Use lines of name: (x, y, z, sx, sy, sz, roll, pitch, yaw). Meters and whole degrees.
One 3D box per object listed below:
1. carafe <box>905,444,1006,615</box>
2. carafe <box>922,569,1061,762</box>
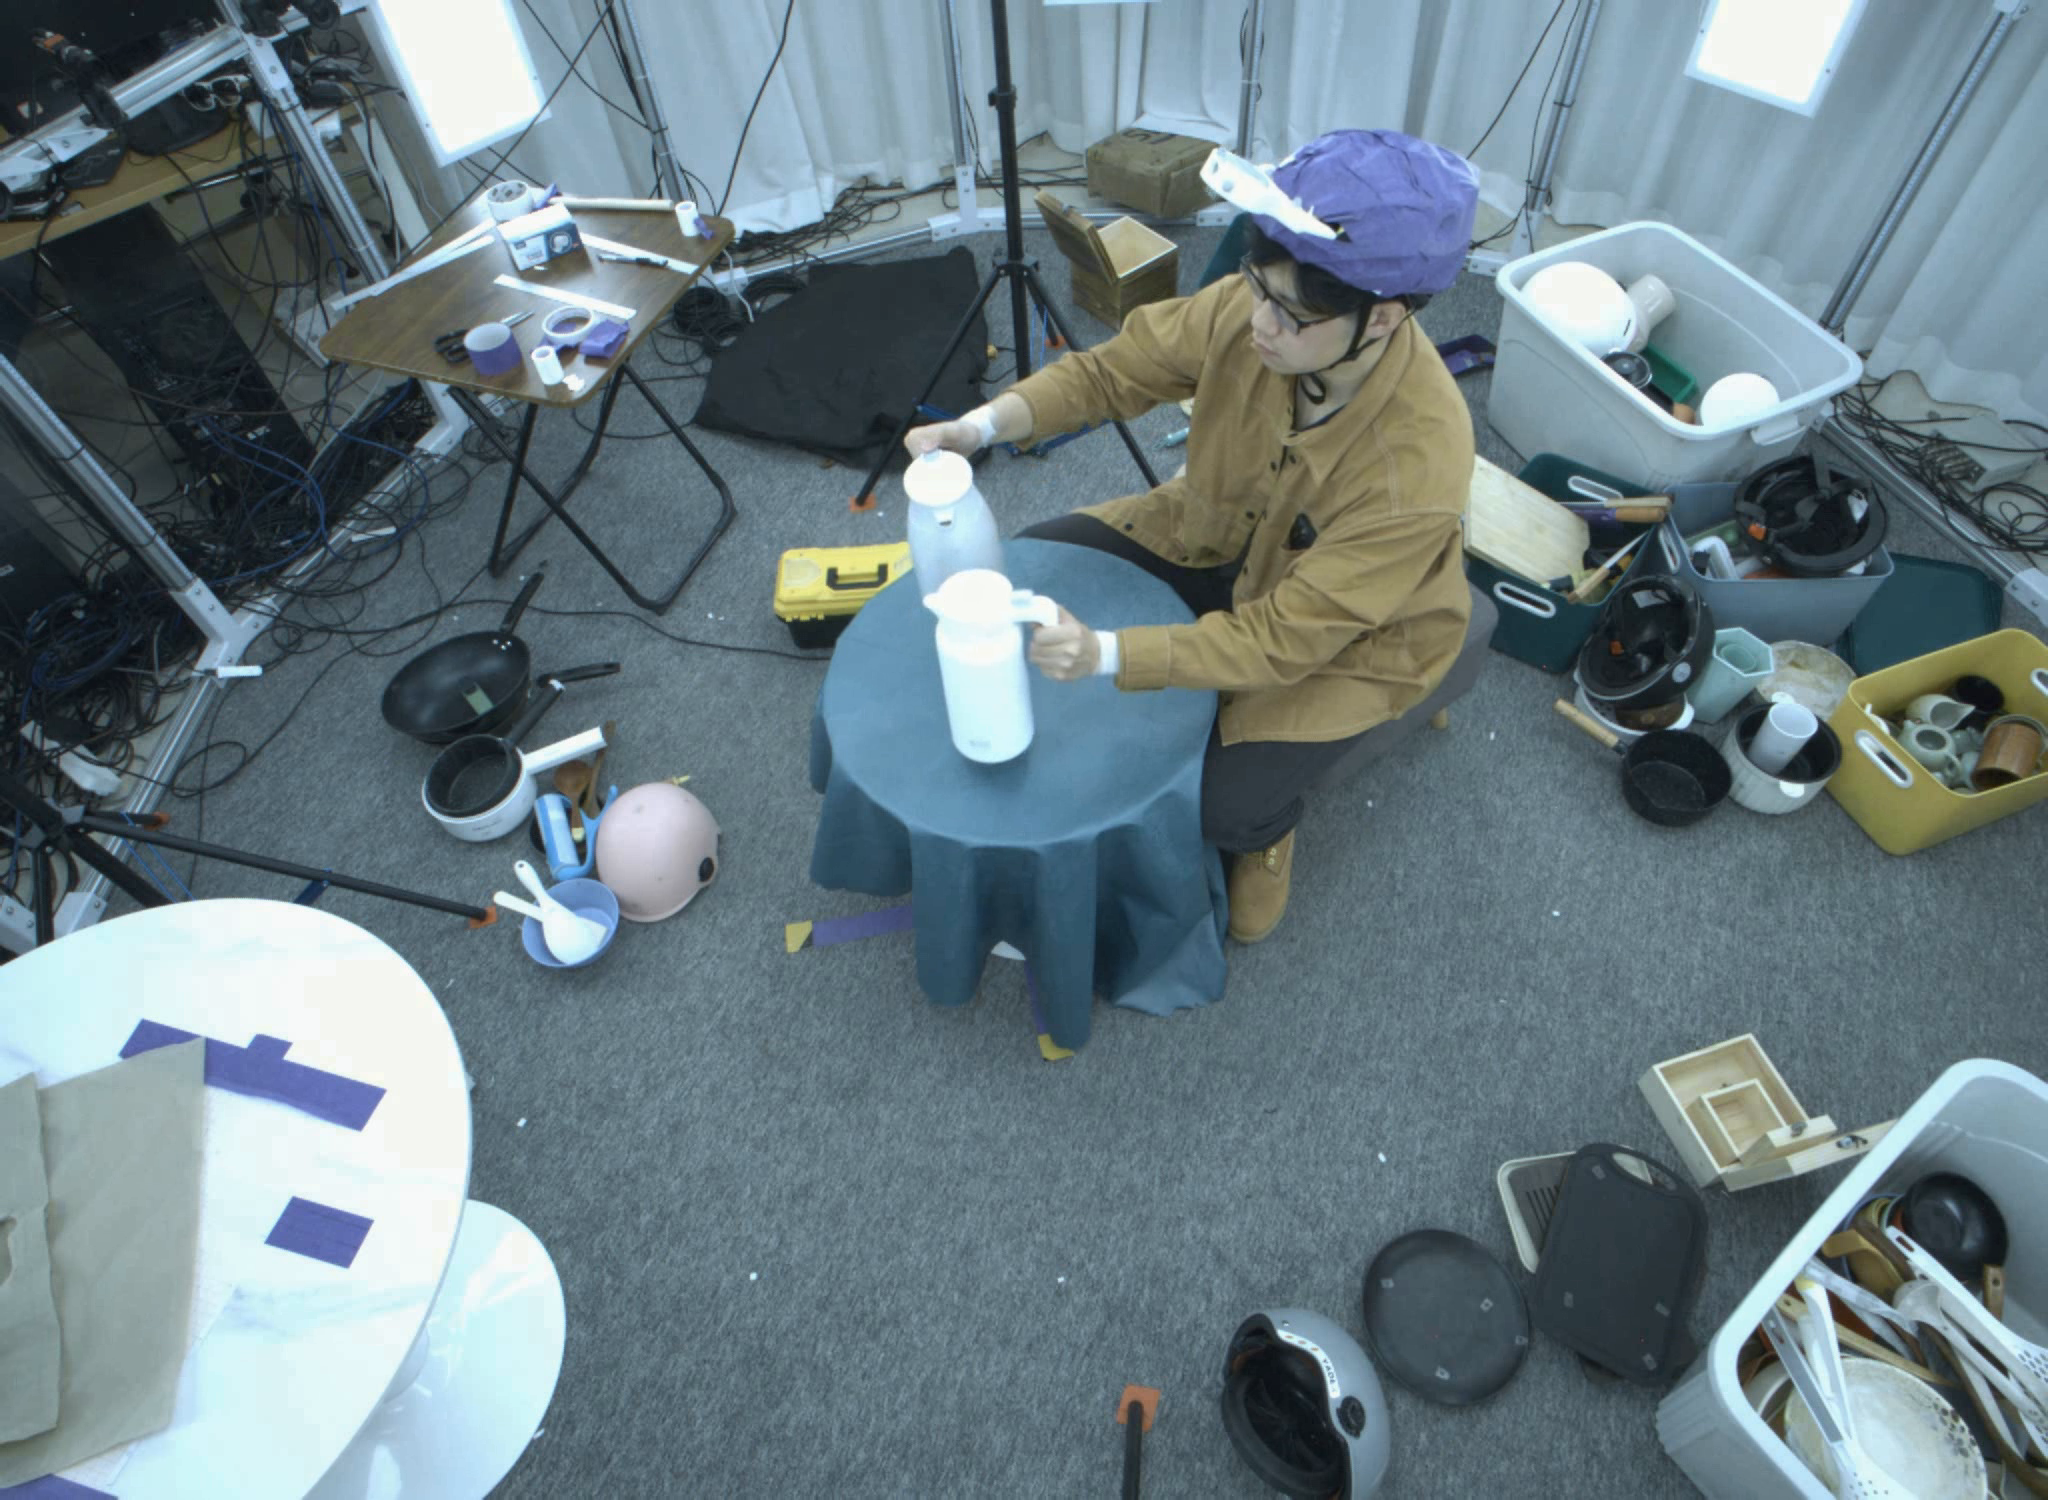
carafe: (-0.108, -0.318, 1.709, 0.132, 0.251, 0.165, -11, 61, 0)
carafe: (-0.037, -0.111, 1.652, 0.172, 0.272, 0.122, -1, 47, 3)
